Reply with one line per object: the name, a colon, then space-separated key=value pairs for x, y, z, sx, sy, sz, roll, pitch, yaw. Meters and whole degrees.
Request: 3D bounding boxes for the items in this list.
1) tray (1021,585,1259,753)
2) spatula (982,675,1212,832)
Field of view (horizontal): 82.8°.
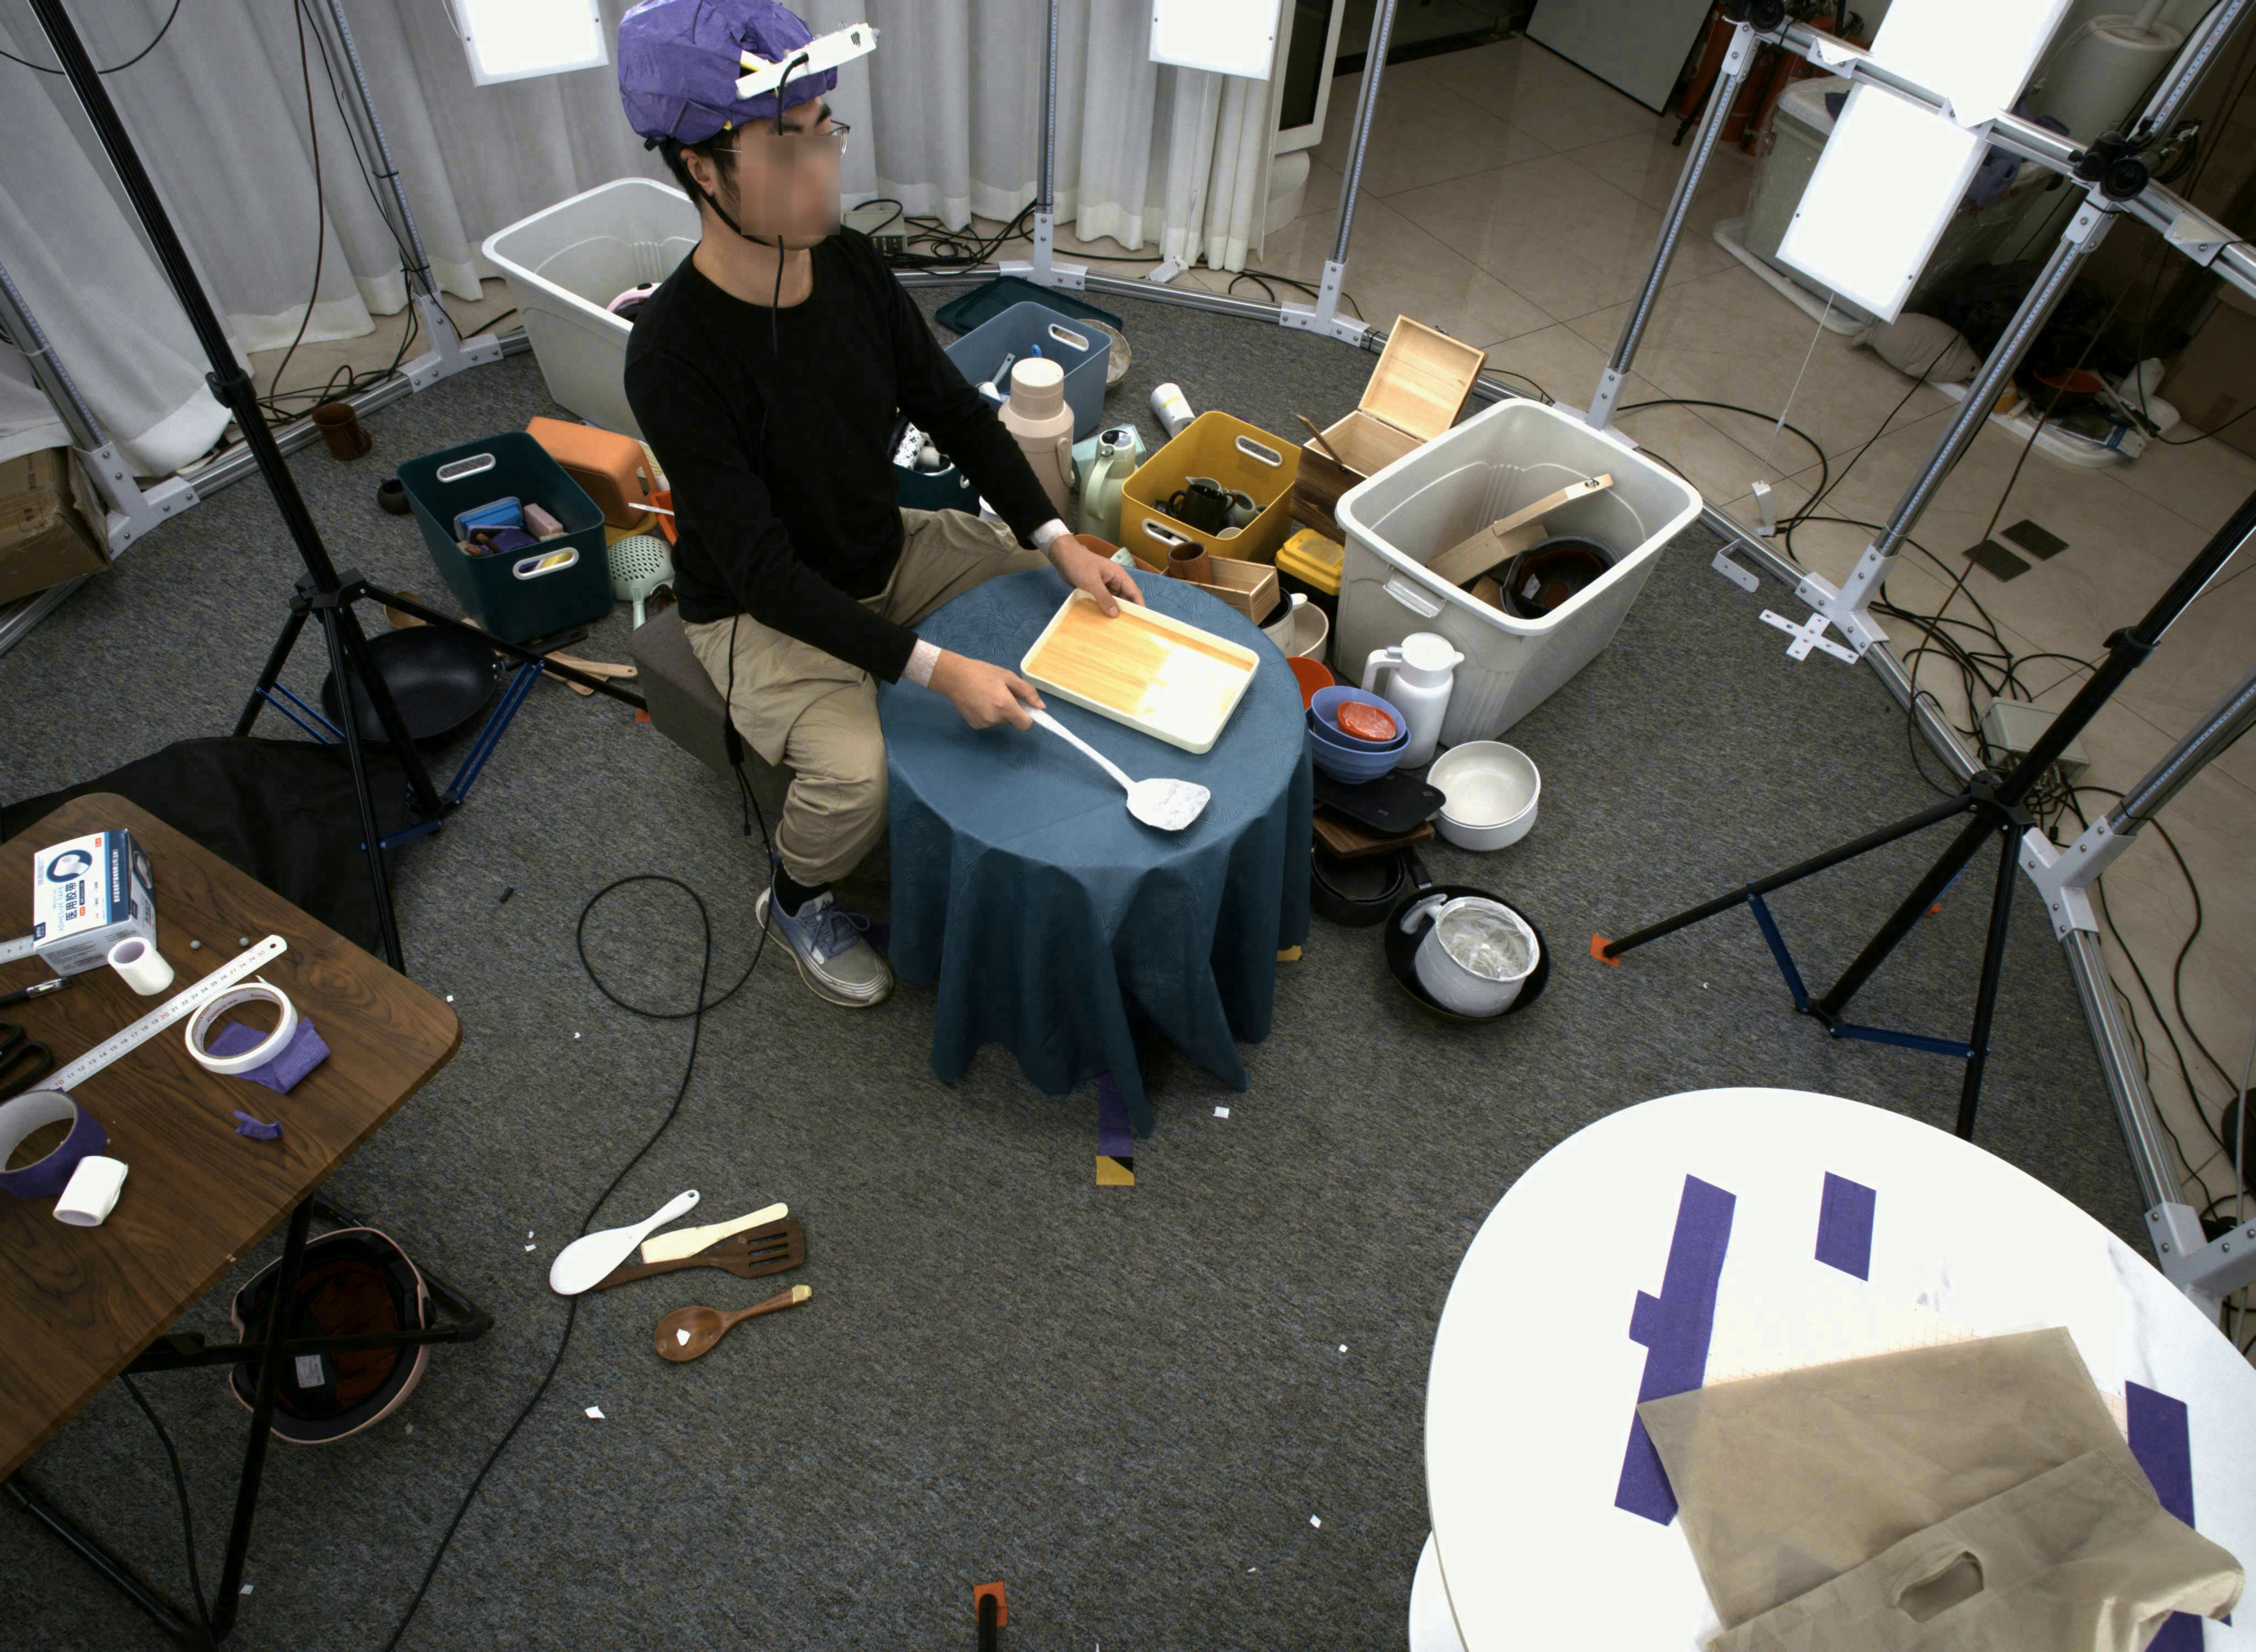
tray: x=0.018 y=-0.228 z=1.836 sx=0.302 sy=0.027 sz=0.195 roll=24 pitch=58 yaw=15
spatula: x=-0.056 y=-0.108 z=1.710 sx=0.367 sy=0.044 sz=0.100 roll=36 pitch=53 yaw=11
